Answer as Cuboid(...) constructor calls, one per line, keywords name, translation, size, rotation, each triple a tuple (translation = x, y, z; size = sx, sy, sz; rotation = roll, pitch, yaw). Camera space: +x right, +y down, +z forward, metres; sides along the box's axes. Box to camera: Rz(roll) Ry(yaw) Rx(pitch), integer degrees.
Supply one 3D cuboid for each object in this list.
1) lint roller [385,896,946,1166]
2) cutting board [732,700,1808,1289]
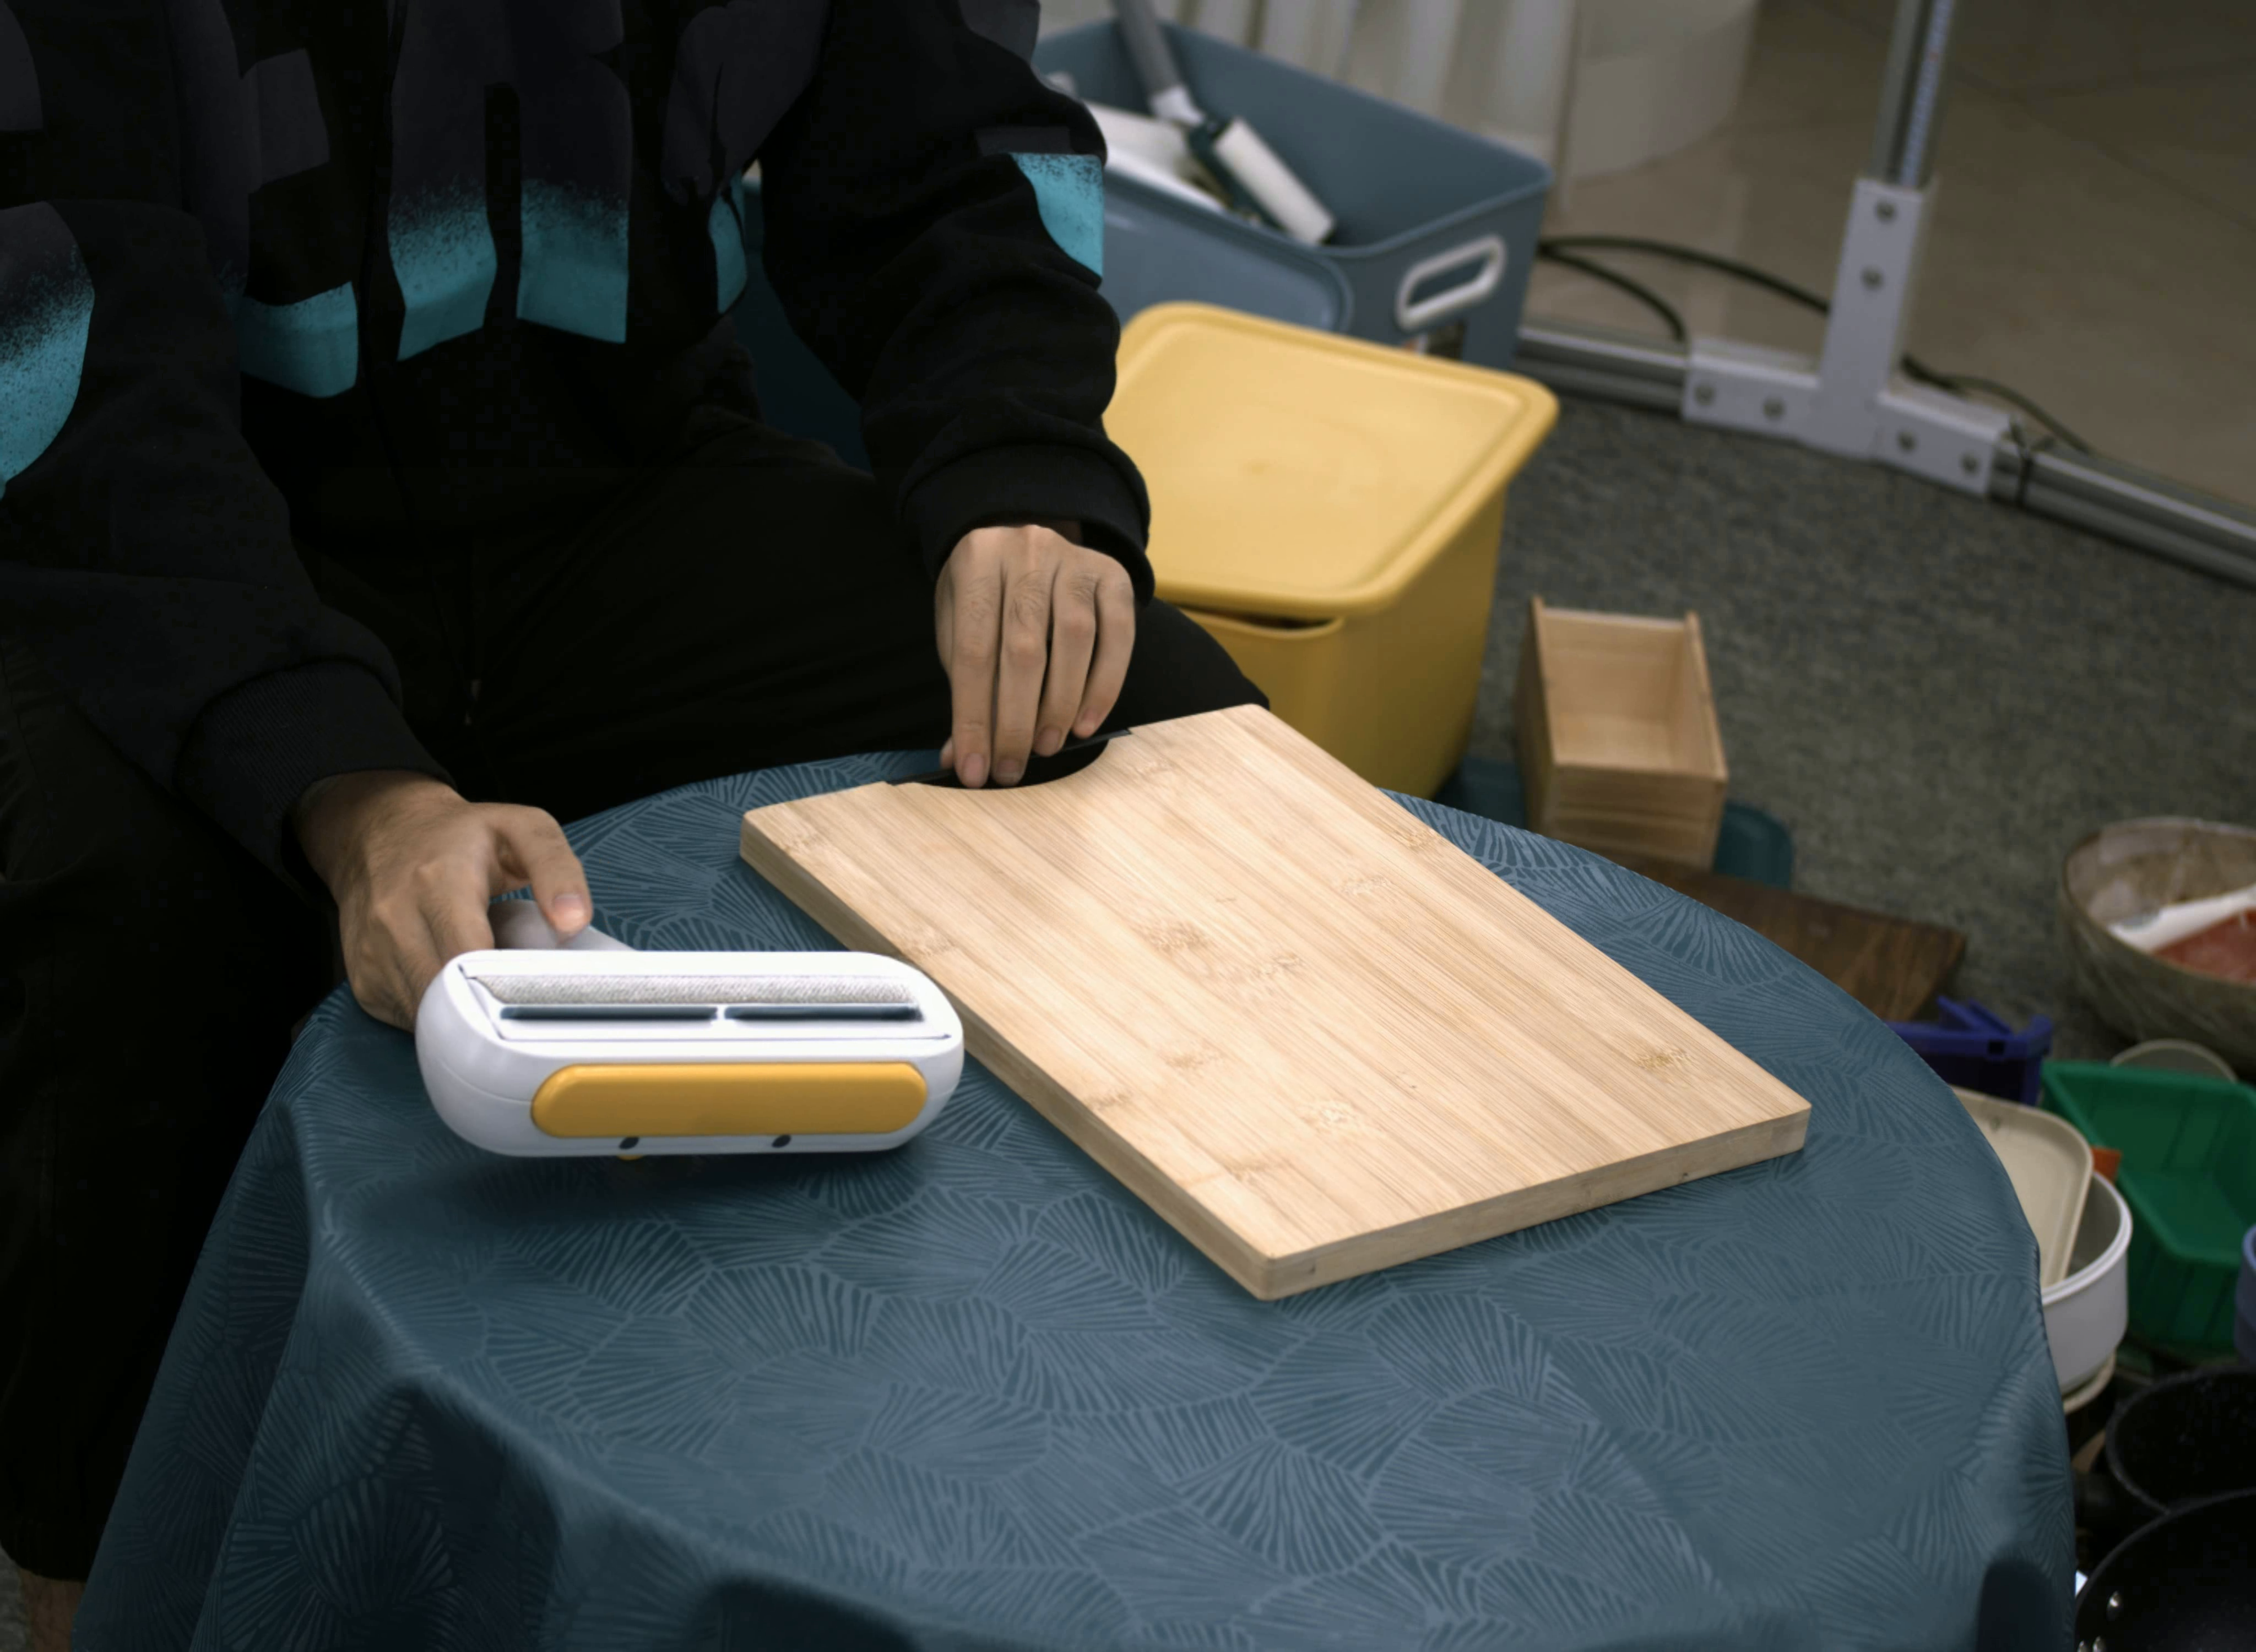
Cuboid(name="lint roller", translation=(-0.177, 0.057, 1.817), size=(0.191, 0.074, 0.194), rotation=(-1, 26, -27))
Cuboid(name="cutting board", translation=(0.045, 0.053, 1.930), size=(0.249, 0.023, 0.352), rotation=(-12, 32, -33))
